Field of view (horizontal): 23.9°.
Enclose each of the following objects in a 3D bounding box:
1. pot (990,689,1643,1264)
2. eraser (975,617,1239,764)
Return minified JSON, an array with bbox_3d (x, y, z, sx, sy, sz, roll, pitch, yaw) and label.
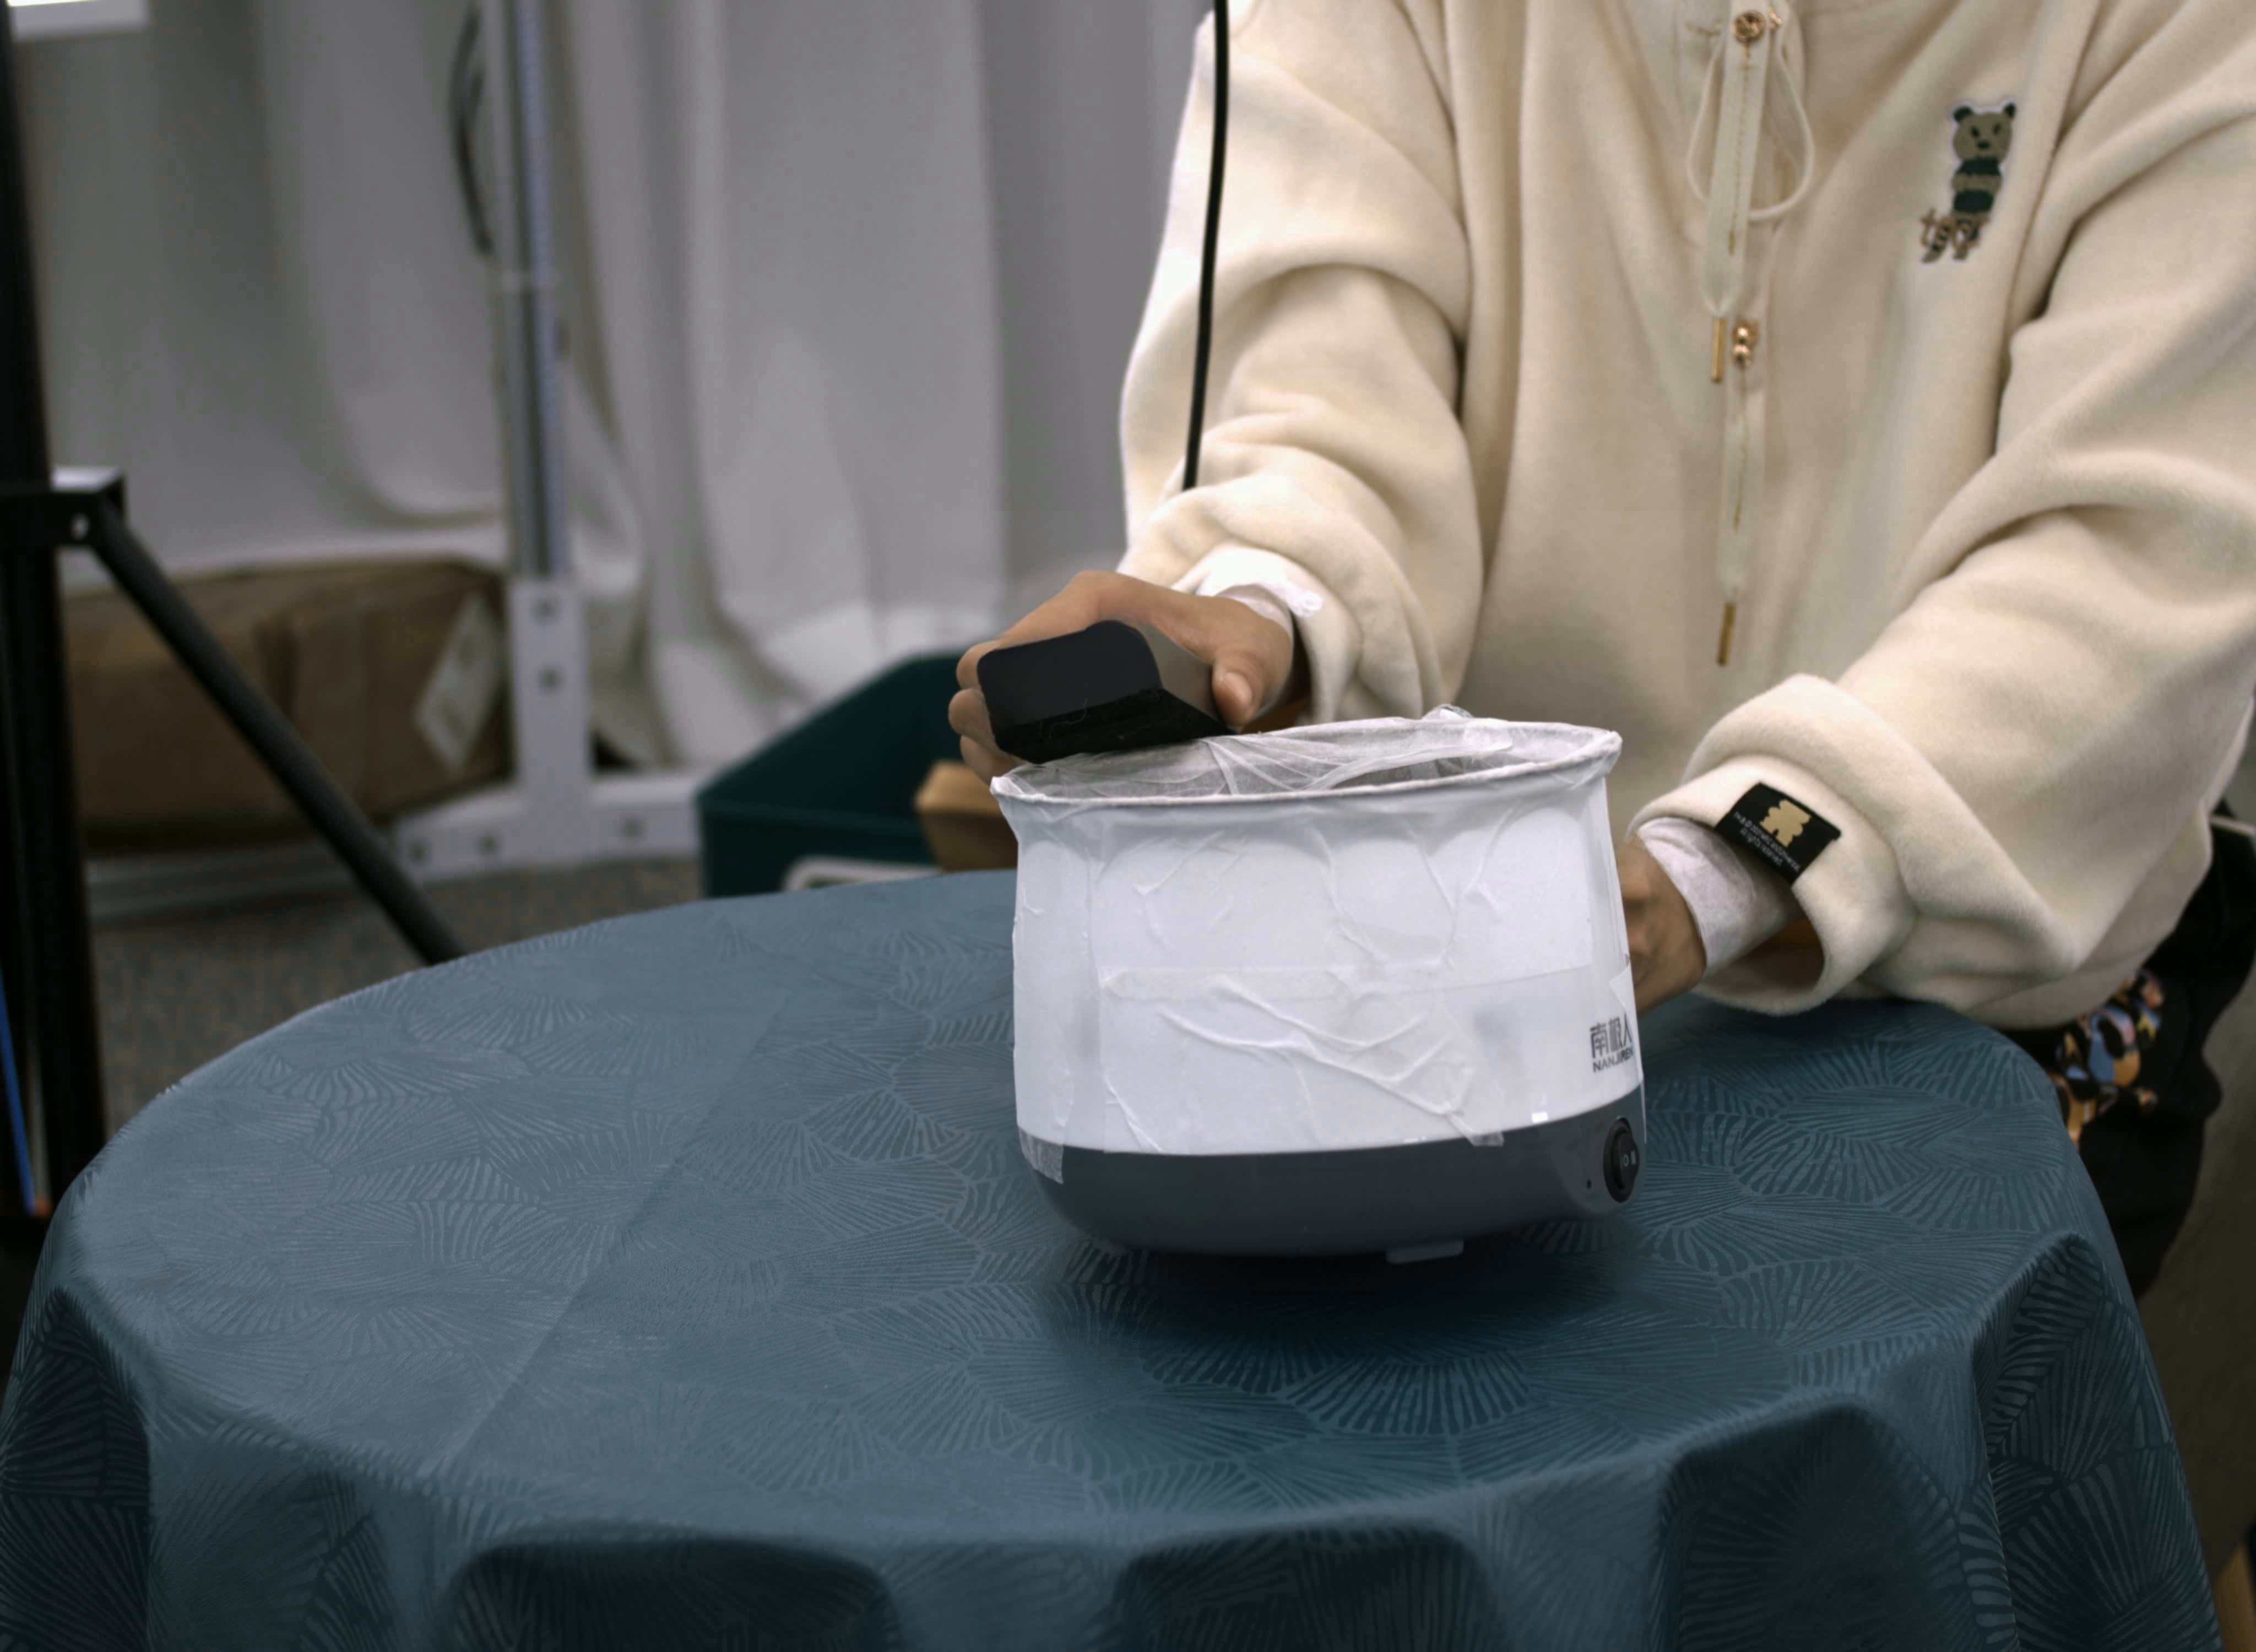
[{"bbox_3d":[0.065,0.038,1.509,0.181,0.137,0.229,-1,8,26],"label":"pot"},{"bbox_3d":[-0.004,-0.035,1.557,0.054,0.031,0.124,-13,-9,11],"label":"eraser"}]
